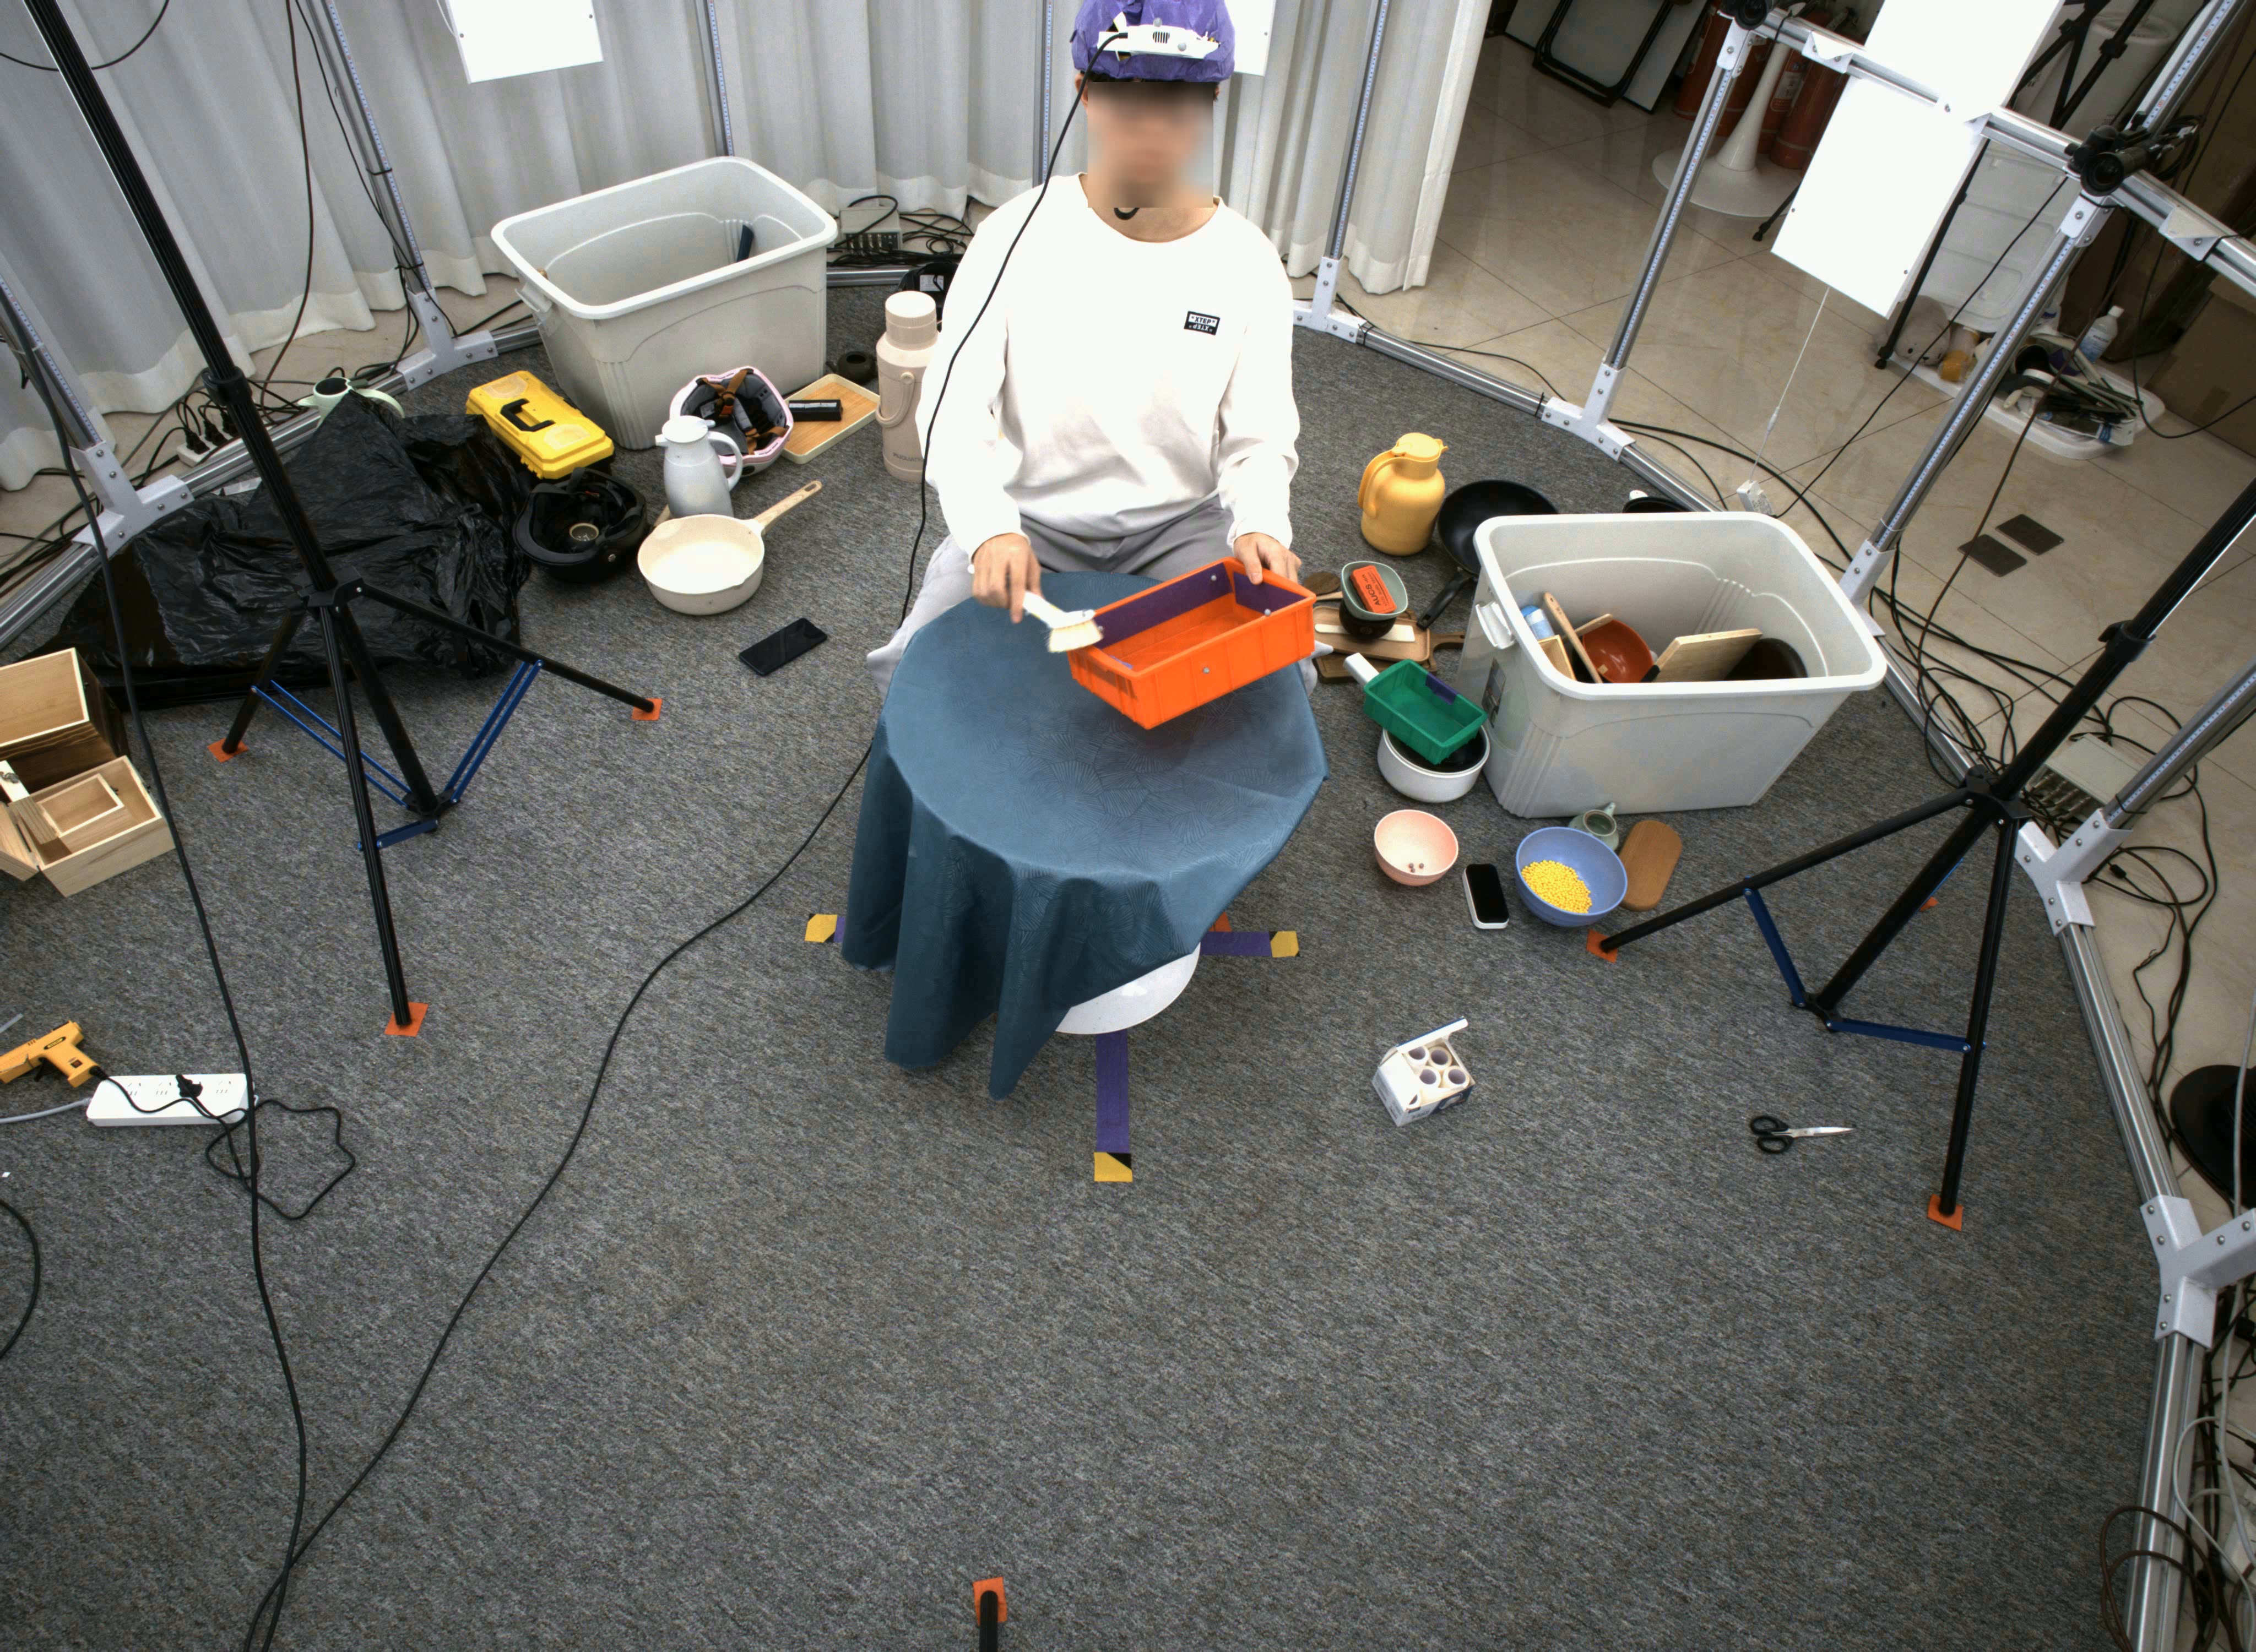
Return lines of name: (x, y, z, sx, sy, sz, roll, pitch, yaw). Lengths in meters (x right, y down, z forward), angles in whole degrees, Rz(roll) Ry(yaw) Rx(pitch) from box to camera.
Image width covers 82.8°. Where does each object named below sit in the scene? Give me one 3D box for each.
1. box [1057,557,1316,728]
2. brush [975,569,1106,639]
box: (0.081, -0.249, 1.732, 0.304, 0.094, 0.210, -24, 35, -22)
brush: (-0.124, -0.296, 1.734, 0.068, 0.055, 0.270, -8, 23, -40)
